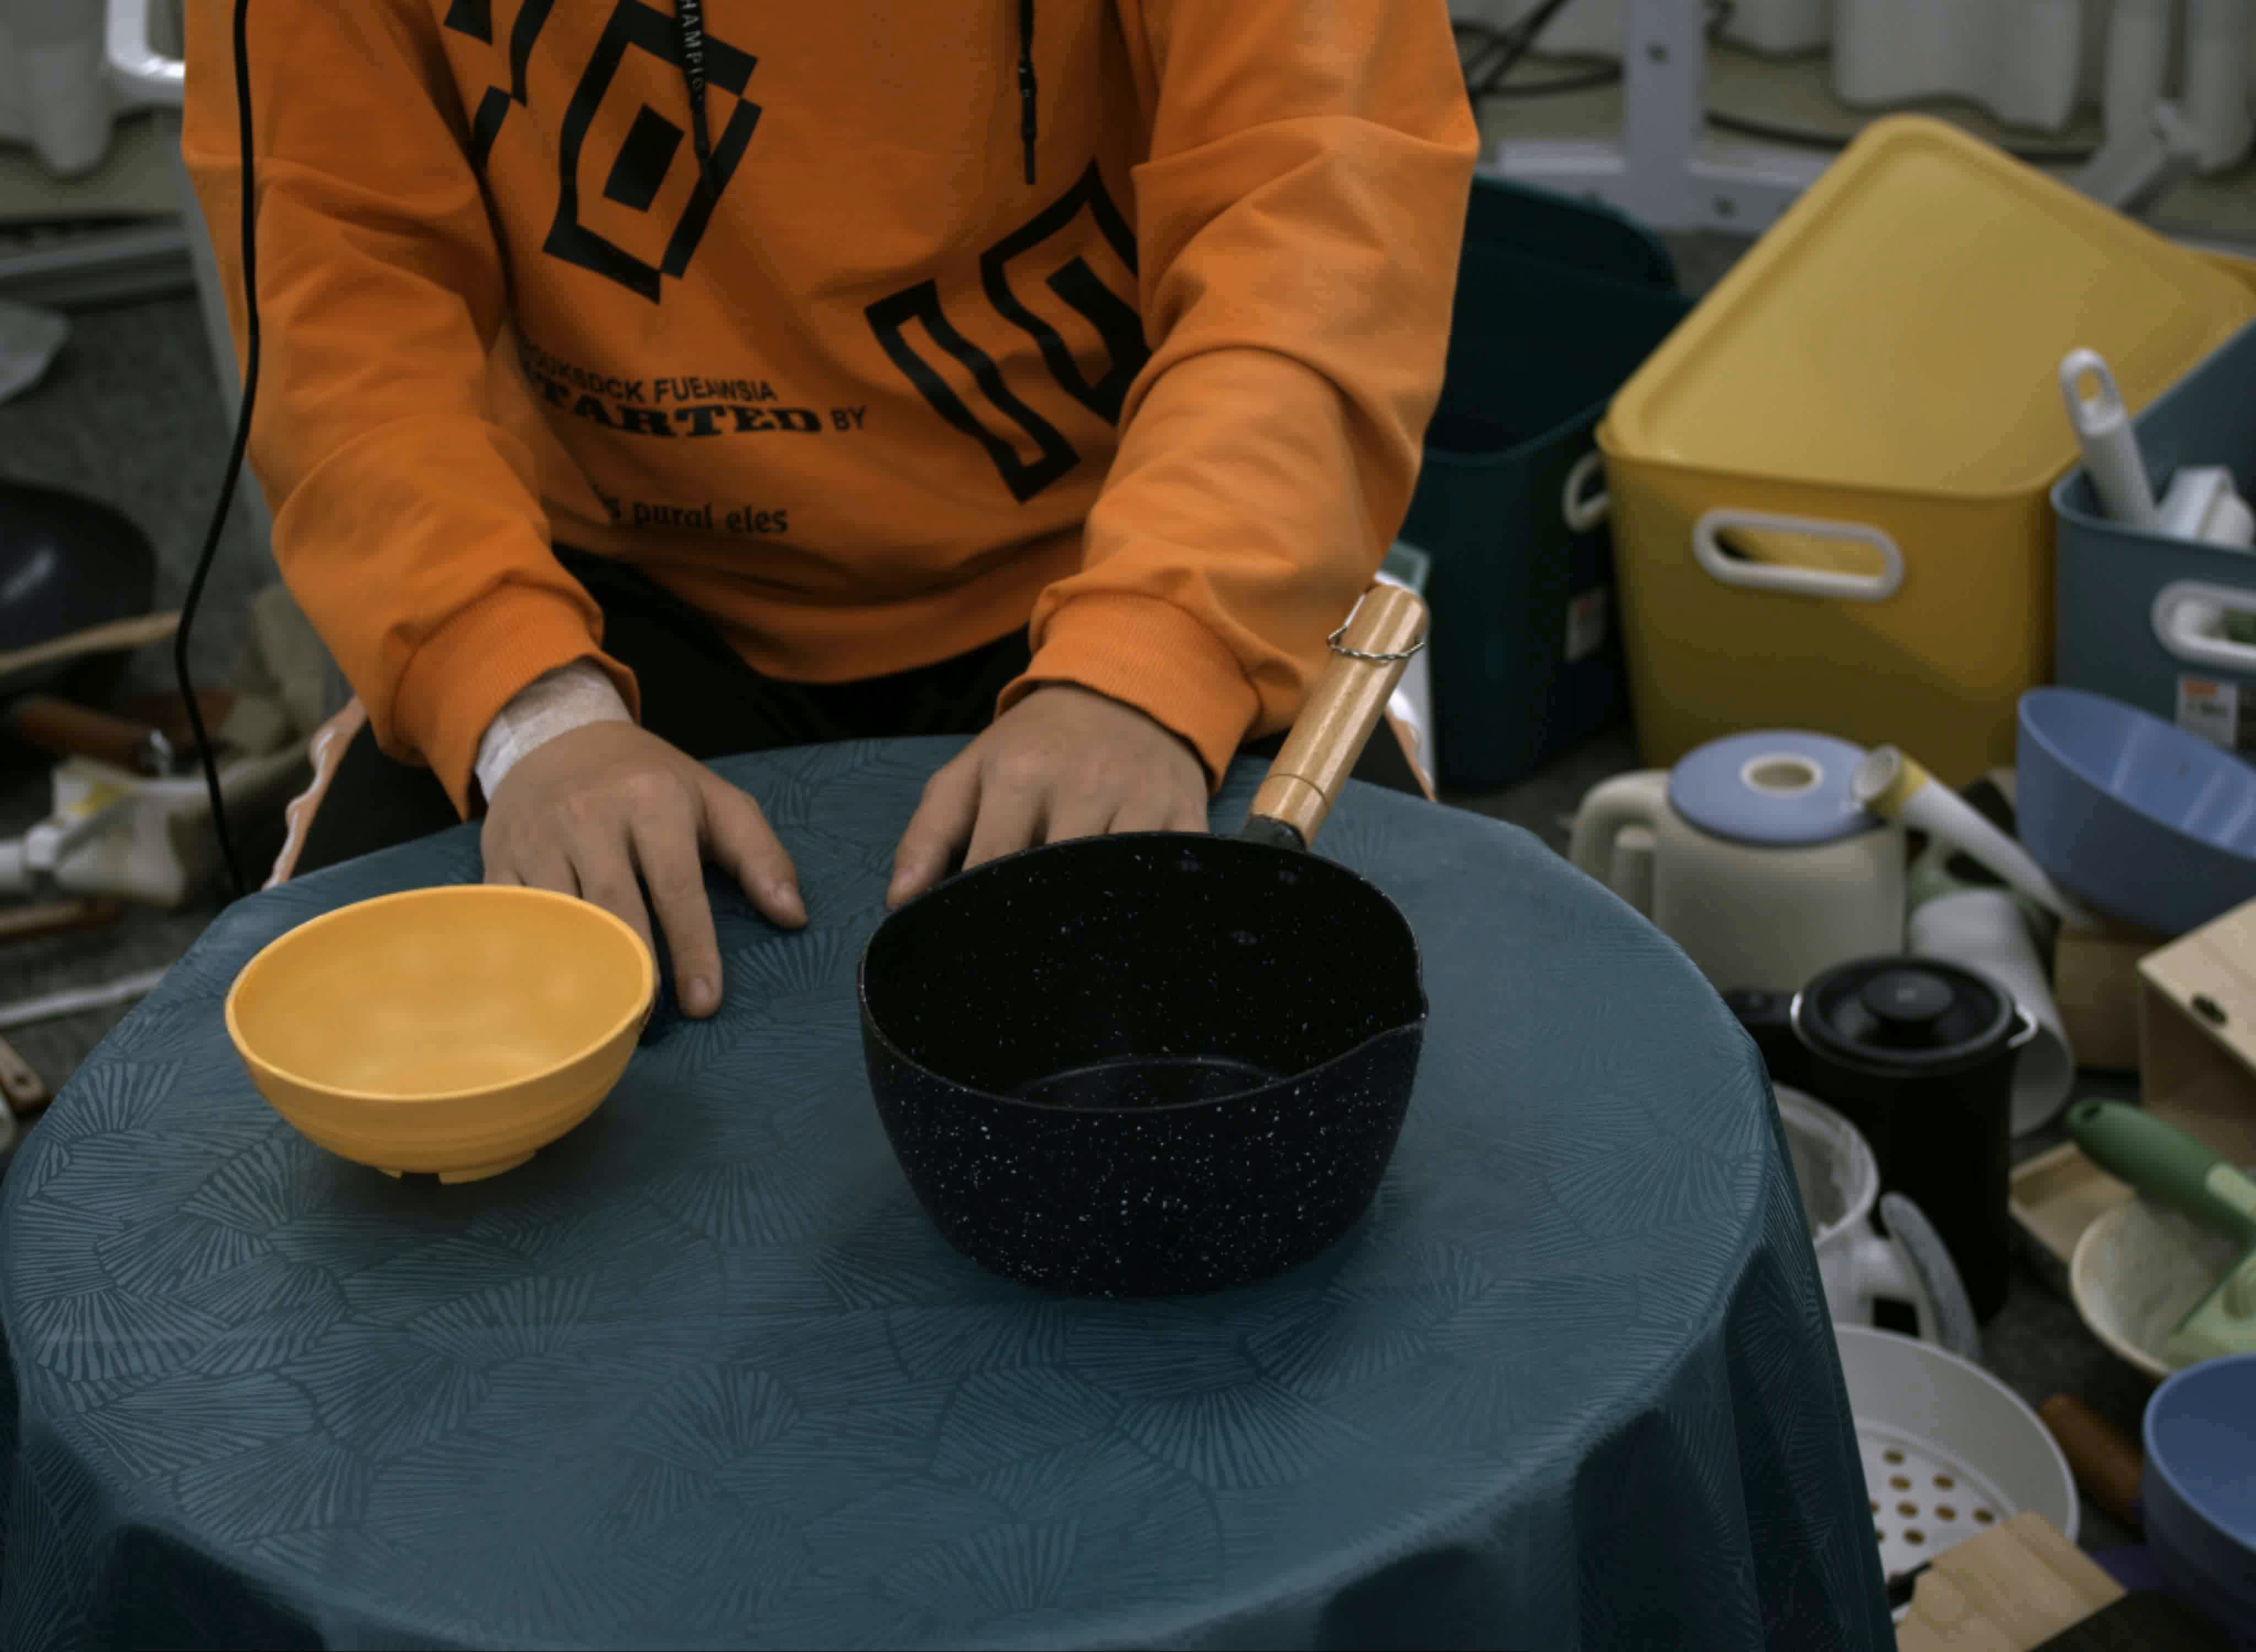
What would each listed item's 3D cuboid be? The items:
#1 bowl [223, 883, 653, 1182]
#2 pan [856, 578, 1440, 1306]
[{"bbox_3d":[-0.231,0.080,1.903,0.144,0.059,0.147,-1,28,1],"label":"bowl"},{"bbox_3d":[0.034,0.036,1.909,0.206,0.107,0.349,7,30,21],"label":"pan"}]
